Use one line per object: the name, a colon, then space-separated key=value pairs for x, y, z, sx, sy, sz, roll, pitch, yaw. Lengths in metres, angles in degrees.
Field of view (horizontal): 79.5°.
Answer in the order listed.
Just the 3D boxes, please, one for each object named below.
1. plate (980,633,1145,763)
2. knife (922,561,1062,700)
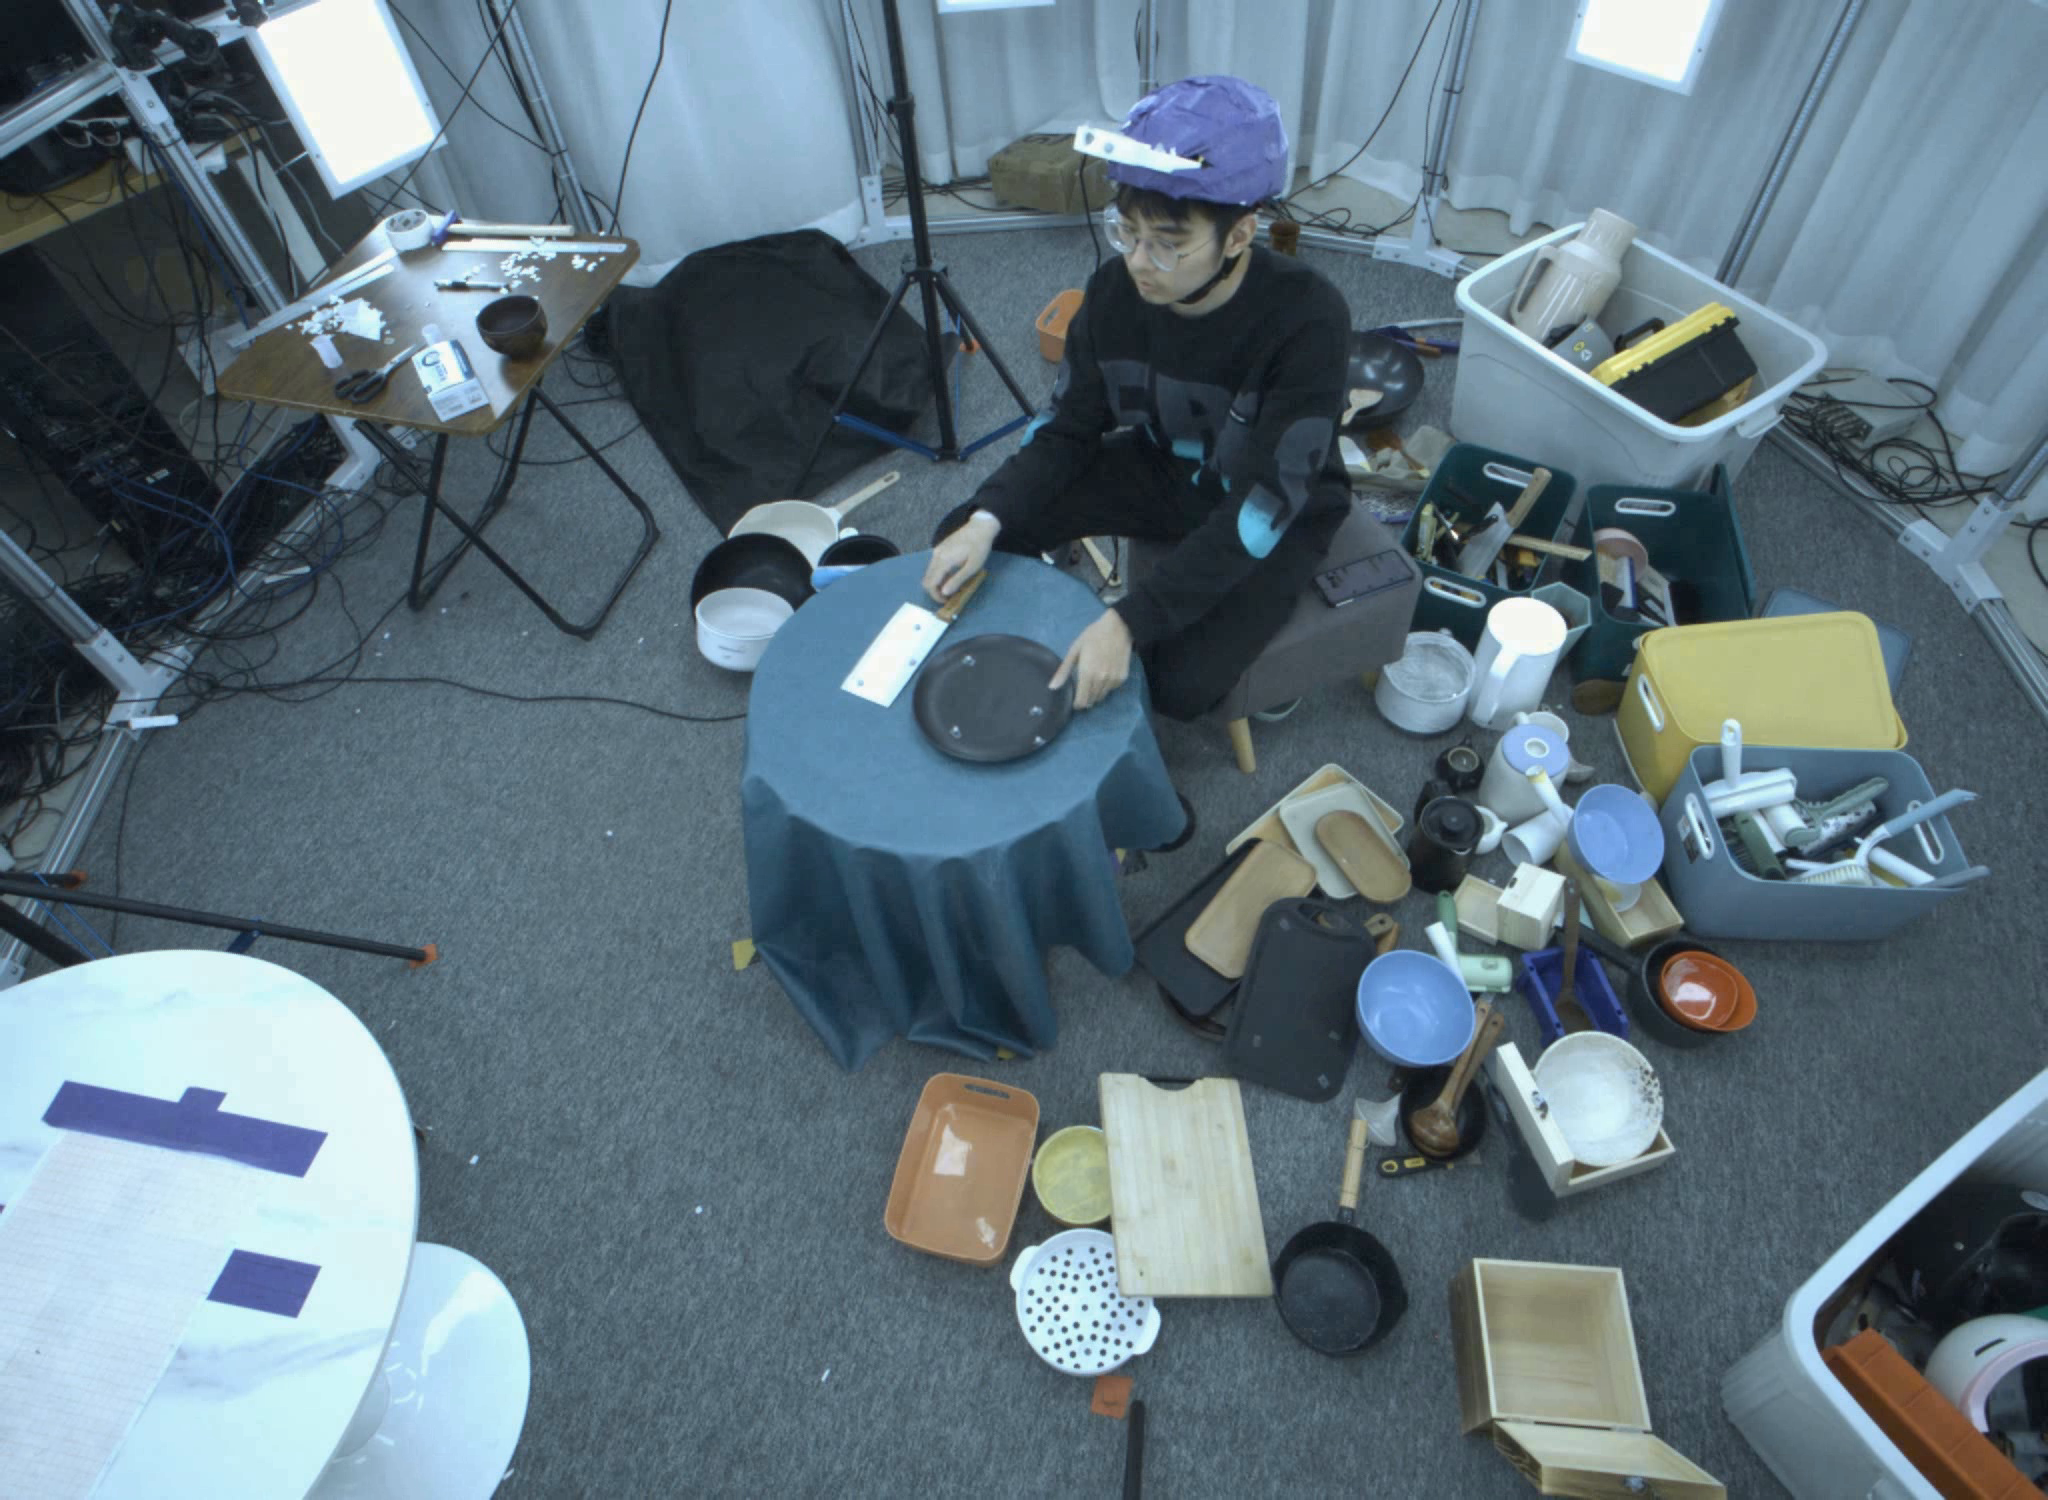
plate: x=0.057 y=-0.076 z=1.824 sx=0.244 sy=0.024 sz=0.242 roll=-1 pitch=55 yaw=2
knife: x=-0.053 y=-0.199 z=1.920 sx=0.091 sy=0.021 sz=0.307 roll=26 pitch=62 yaw=21
